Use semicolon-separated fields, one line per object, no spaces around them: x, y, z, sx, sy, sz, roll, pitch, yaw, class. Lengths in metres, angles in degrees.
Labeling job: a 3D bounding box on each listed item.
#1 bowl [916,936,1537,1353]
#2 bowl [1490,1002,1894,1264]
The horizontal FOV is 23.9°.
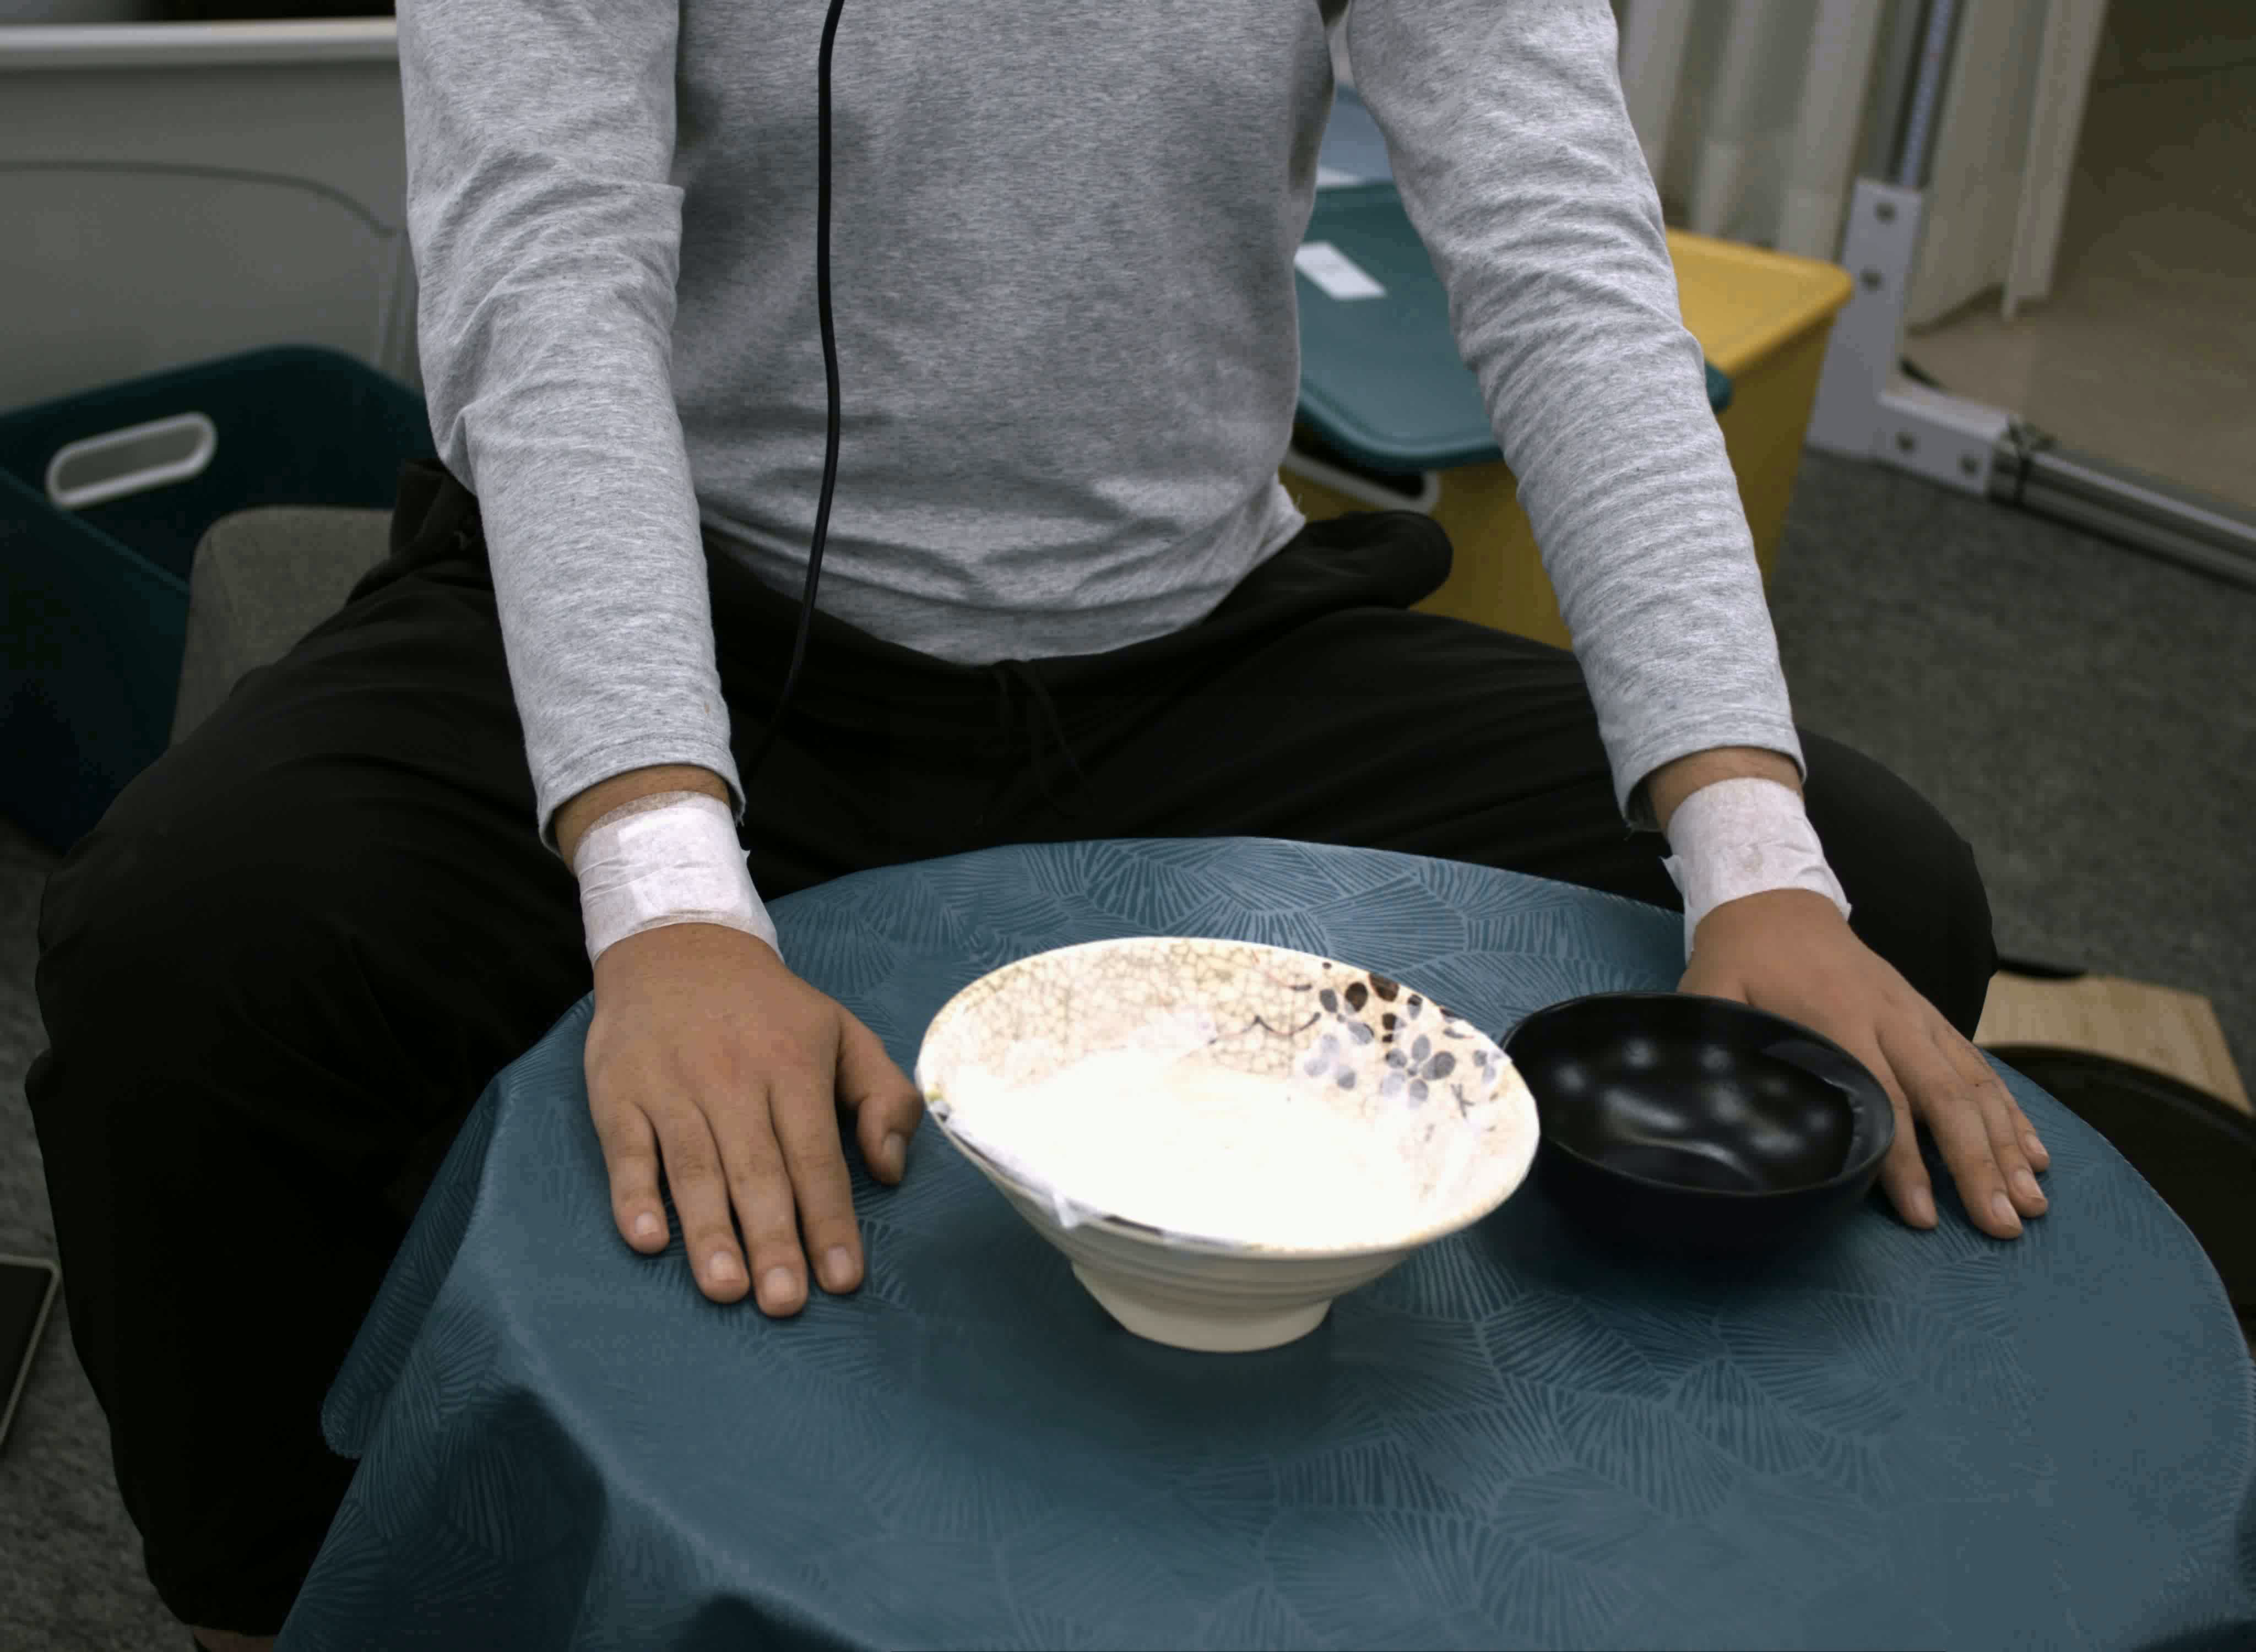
0.028;0.117;1.739;0.203;0.078;0.205;6;26;-3;bowl
0.189;0.112;1.821;0.139;0.049;0.141;6;23;-3;bowl
